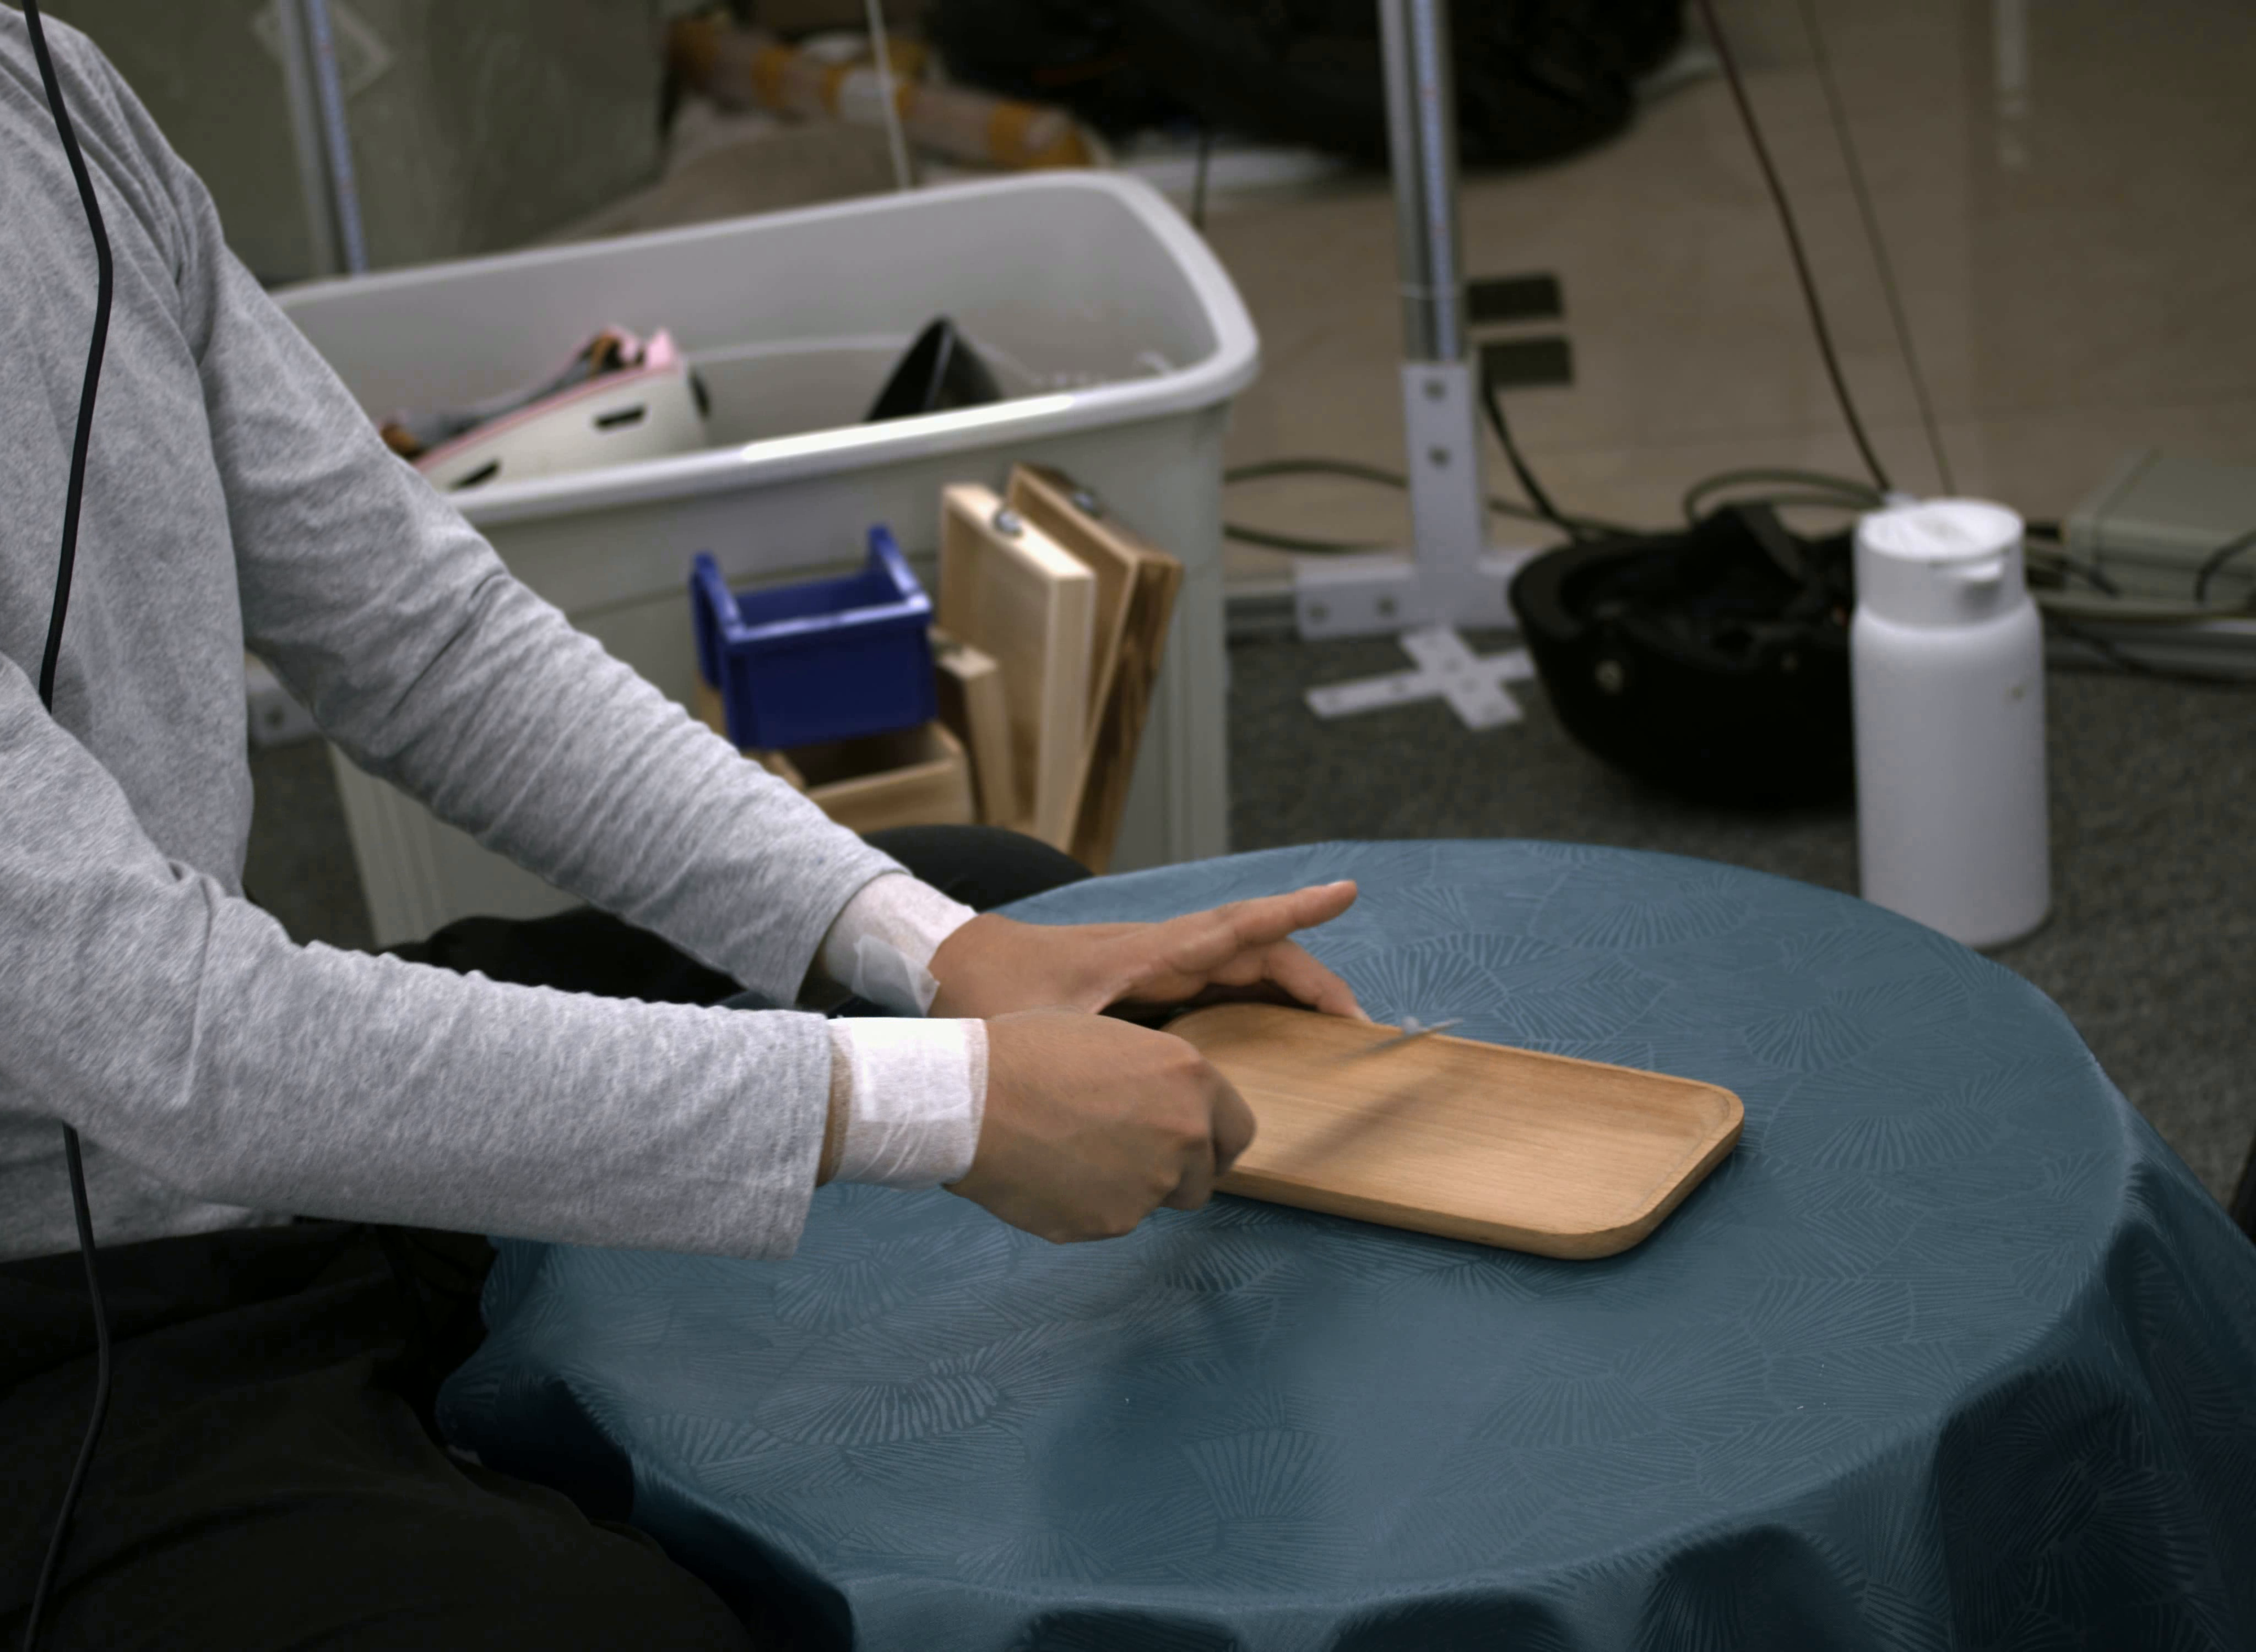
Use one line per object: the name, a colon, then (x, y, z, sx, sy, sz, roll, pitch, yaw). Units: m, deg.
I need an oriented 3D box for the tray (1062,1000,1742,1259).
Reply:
tray: (0.103, 0.114, 2.160, 0.249, 0.023, 0.129, 9, 26, 32)

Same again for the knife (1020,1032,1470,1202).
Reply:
knife: (0.050, 0.103, 2.115, 0.237, 0.016, 0.025, -16, -14, -43)
